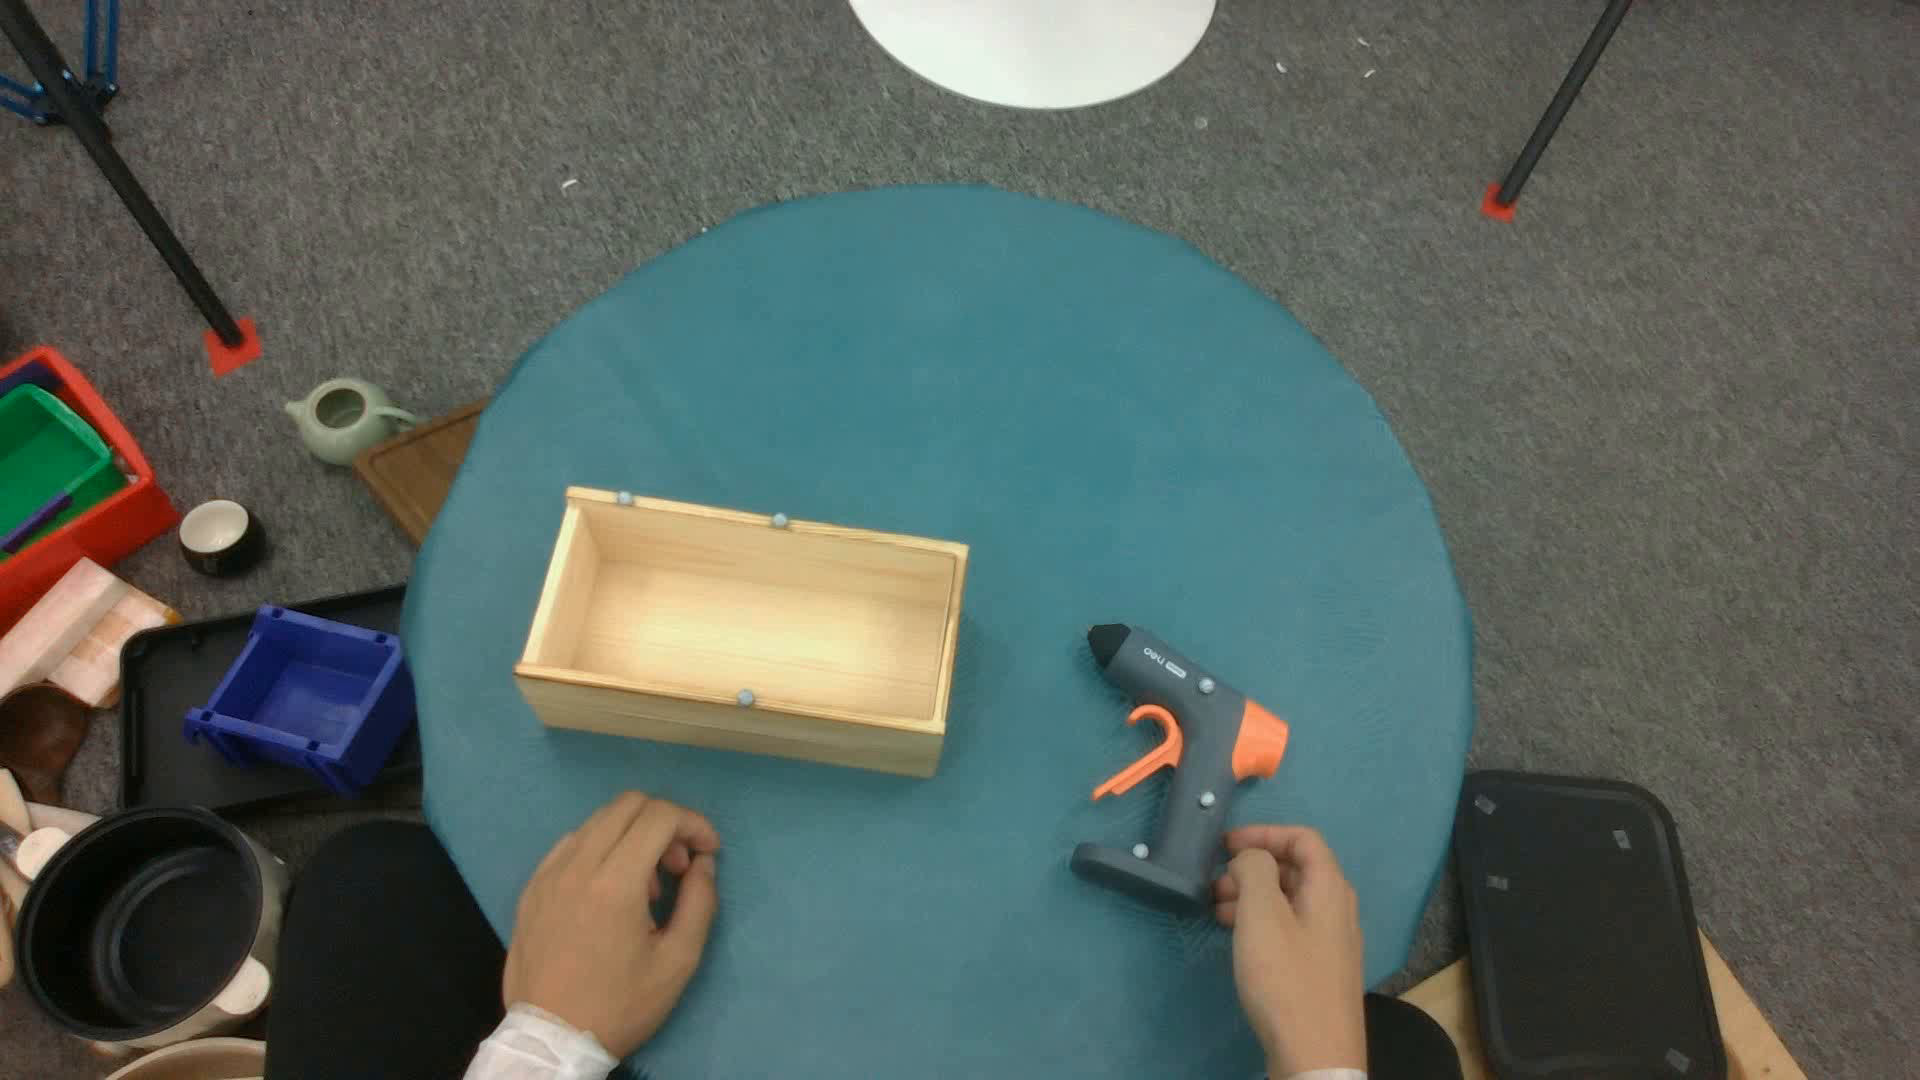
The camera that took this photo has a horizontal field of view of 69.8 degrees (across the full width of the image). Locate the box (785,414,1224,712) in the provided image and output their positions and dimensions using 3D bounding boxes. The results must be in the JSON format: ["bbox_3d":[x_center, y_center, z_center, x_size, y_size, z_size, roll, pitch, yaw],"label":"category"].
[{"bbox_3d":[0.027,0.013,0.744,0.211,0.080,0.108,10,69,9],"label":"box"}]

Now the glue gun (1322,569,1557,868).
[{"bbox_3d":[0.240,0.089,0.720,0.118,0.041,0.140,20,68,15],"label":"glue gun"}]
